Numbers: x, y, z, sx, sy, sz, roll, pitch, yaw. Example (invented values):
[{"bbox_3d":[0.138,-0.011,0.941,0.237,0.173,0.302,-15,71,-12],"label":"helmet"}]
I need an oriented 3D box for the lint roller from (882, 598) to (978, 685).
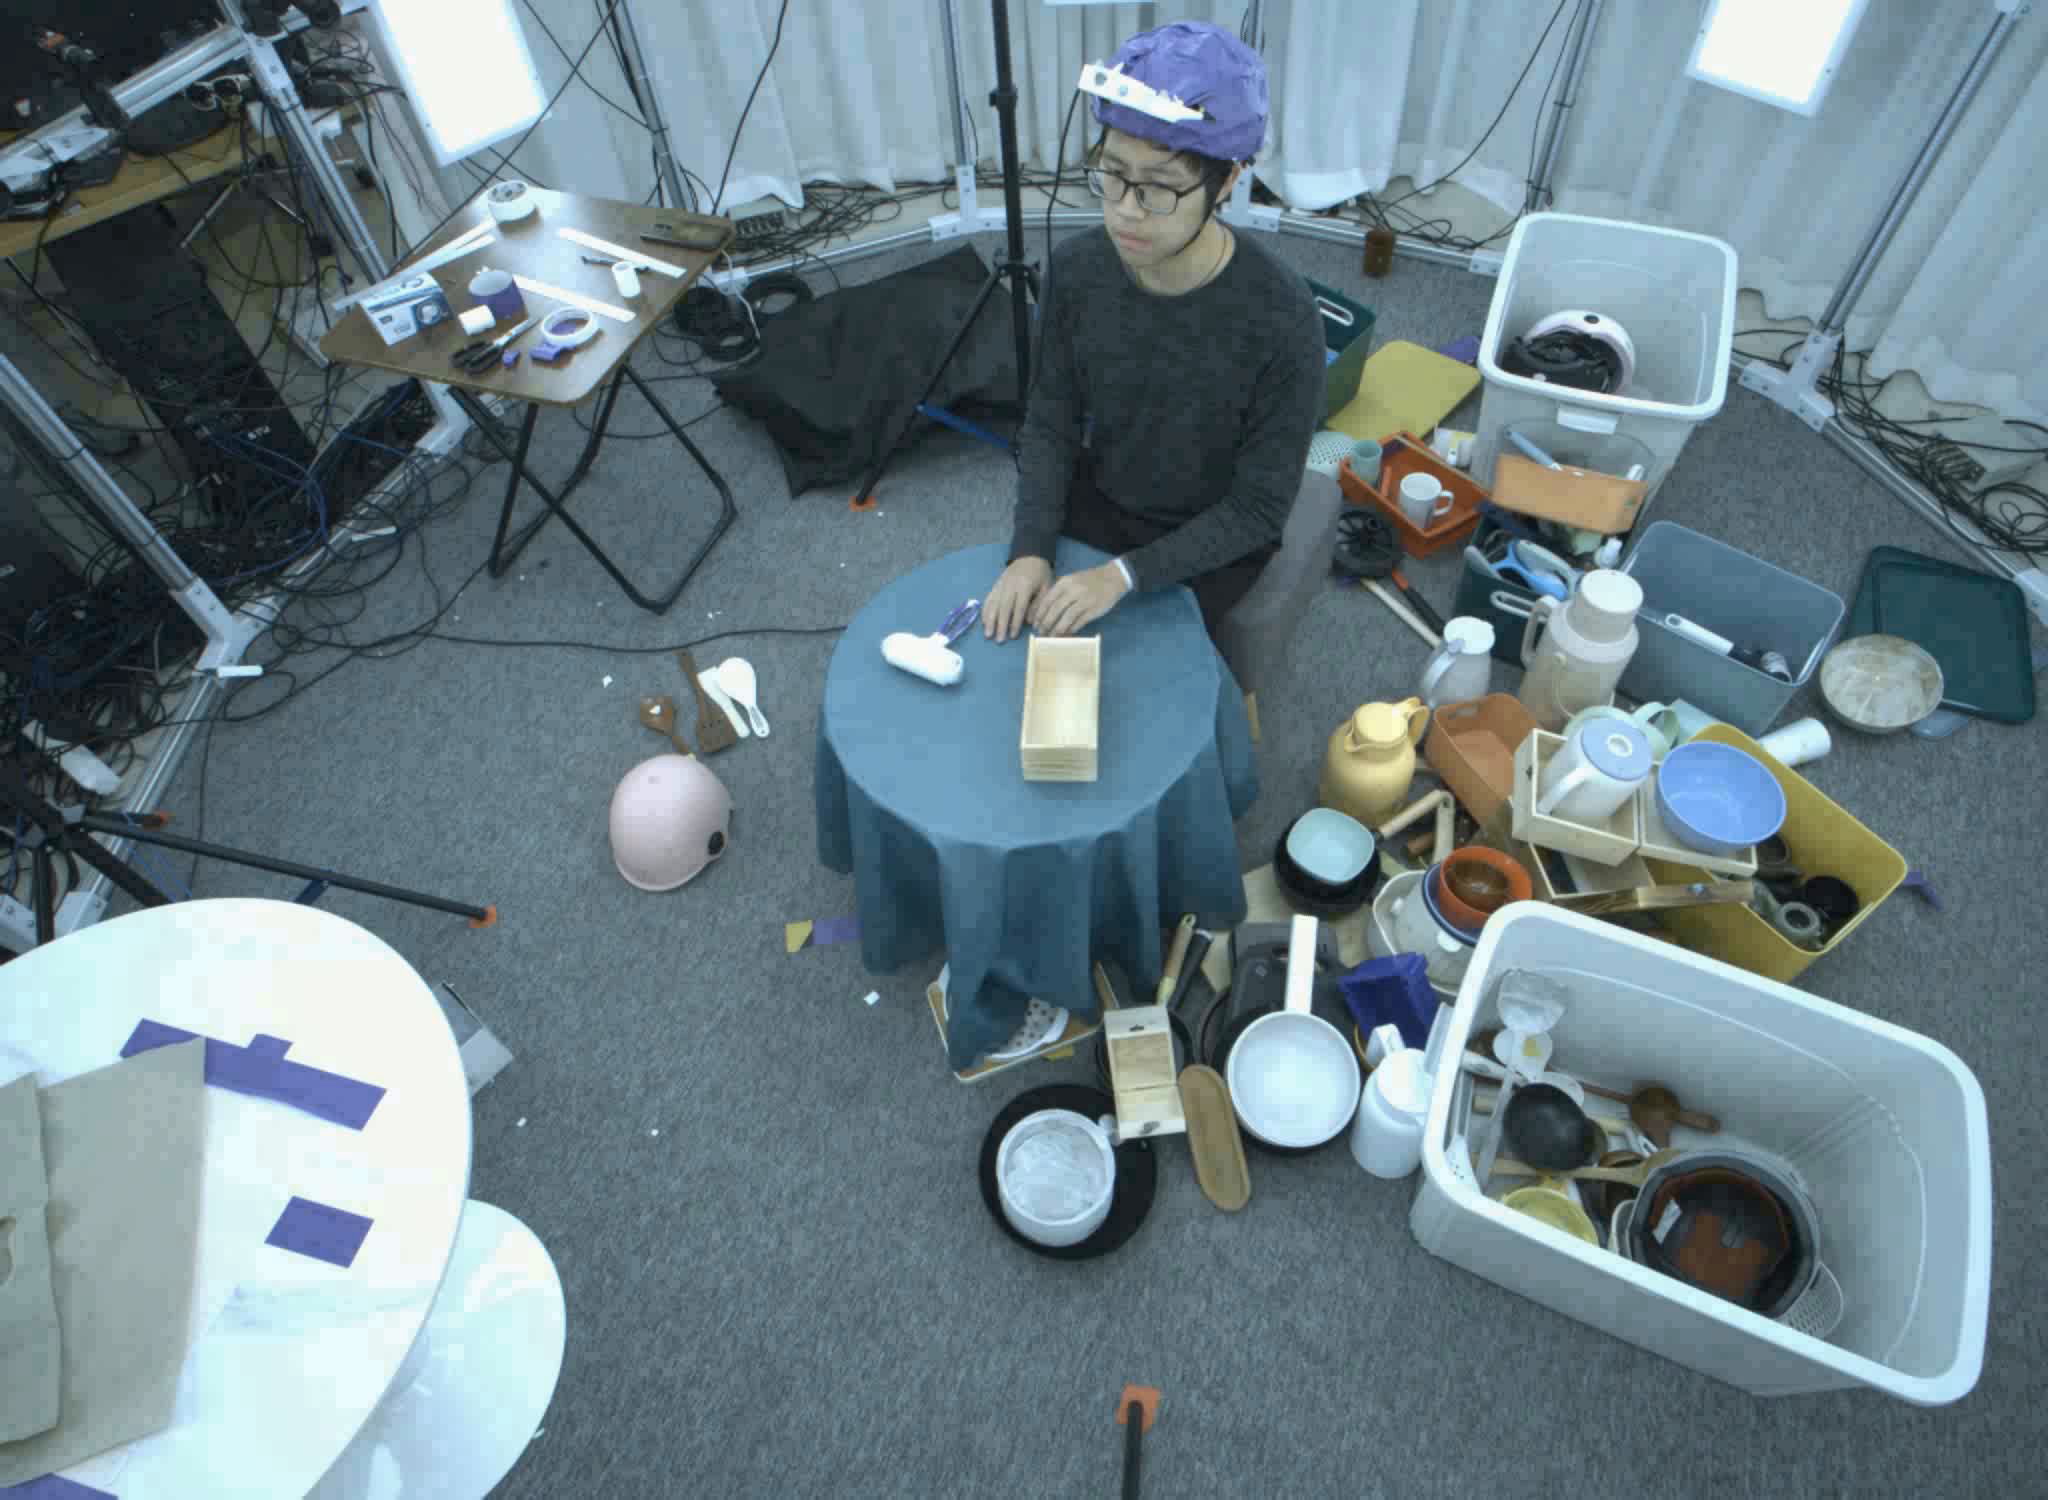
[{"bbox_3d":[-0.123,-0.183,1.892,0.131,0.051,0.181,25,61,20],"label":"lint roller"}]

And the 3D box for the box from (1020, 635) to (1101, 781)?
[{"bbox_3d":[0.055,-0.063,1.781,0.107,0.081,0.209,1,54,4],"label":"box"}]
